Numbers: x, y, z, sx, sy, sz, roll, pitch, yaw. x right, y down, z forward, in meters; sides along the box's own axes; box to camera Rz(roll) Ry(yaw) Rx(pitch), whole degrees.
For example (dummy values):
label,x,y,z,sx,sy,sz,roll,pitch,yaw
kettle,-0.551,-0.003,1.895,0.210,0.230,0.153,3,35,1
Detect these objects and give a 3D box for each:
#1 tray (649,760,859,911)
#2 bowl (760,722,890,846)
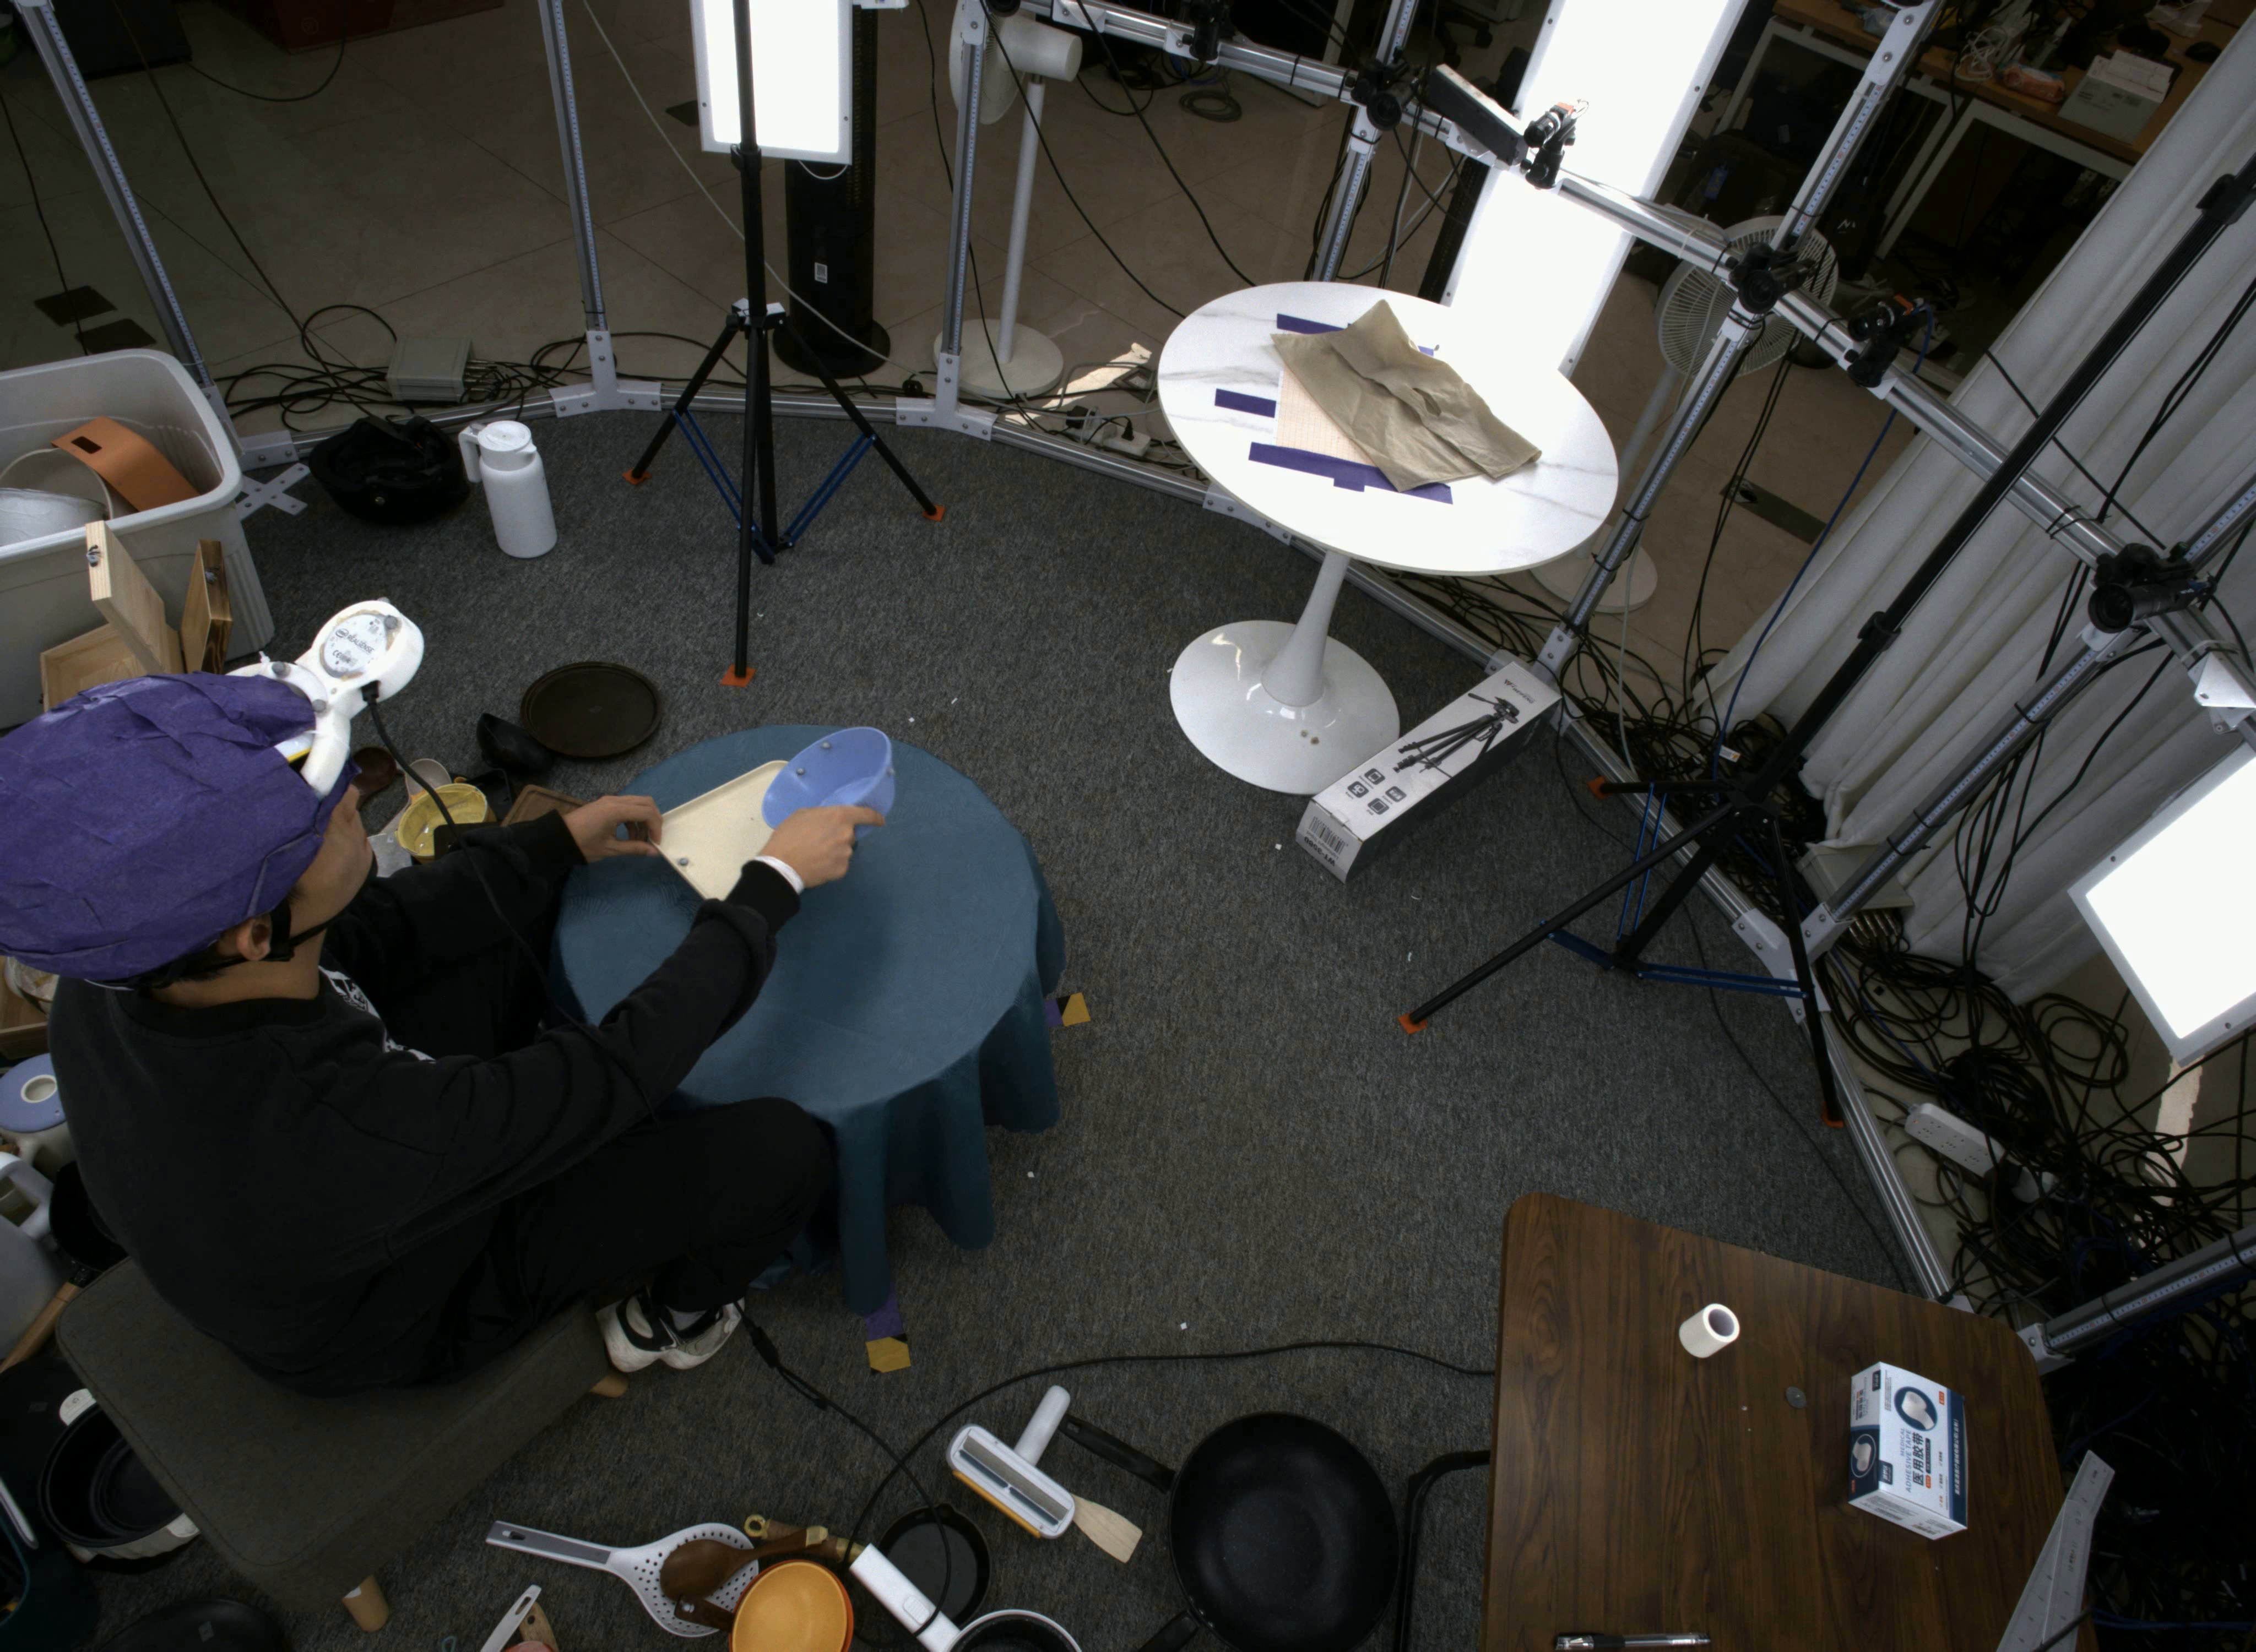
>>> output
label,x,y,z,sx,sy,sz,roll,pitch,yaw
tray,-0.481,0.009,1.670,0.168,0.018,0.240,42,46,13
bowl,-0.354,-0.041,1.570,0.173,0.073,0.172,-19,38,18
